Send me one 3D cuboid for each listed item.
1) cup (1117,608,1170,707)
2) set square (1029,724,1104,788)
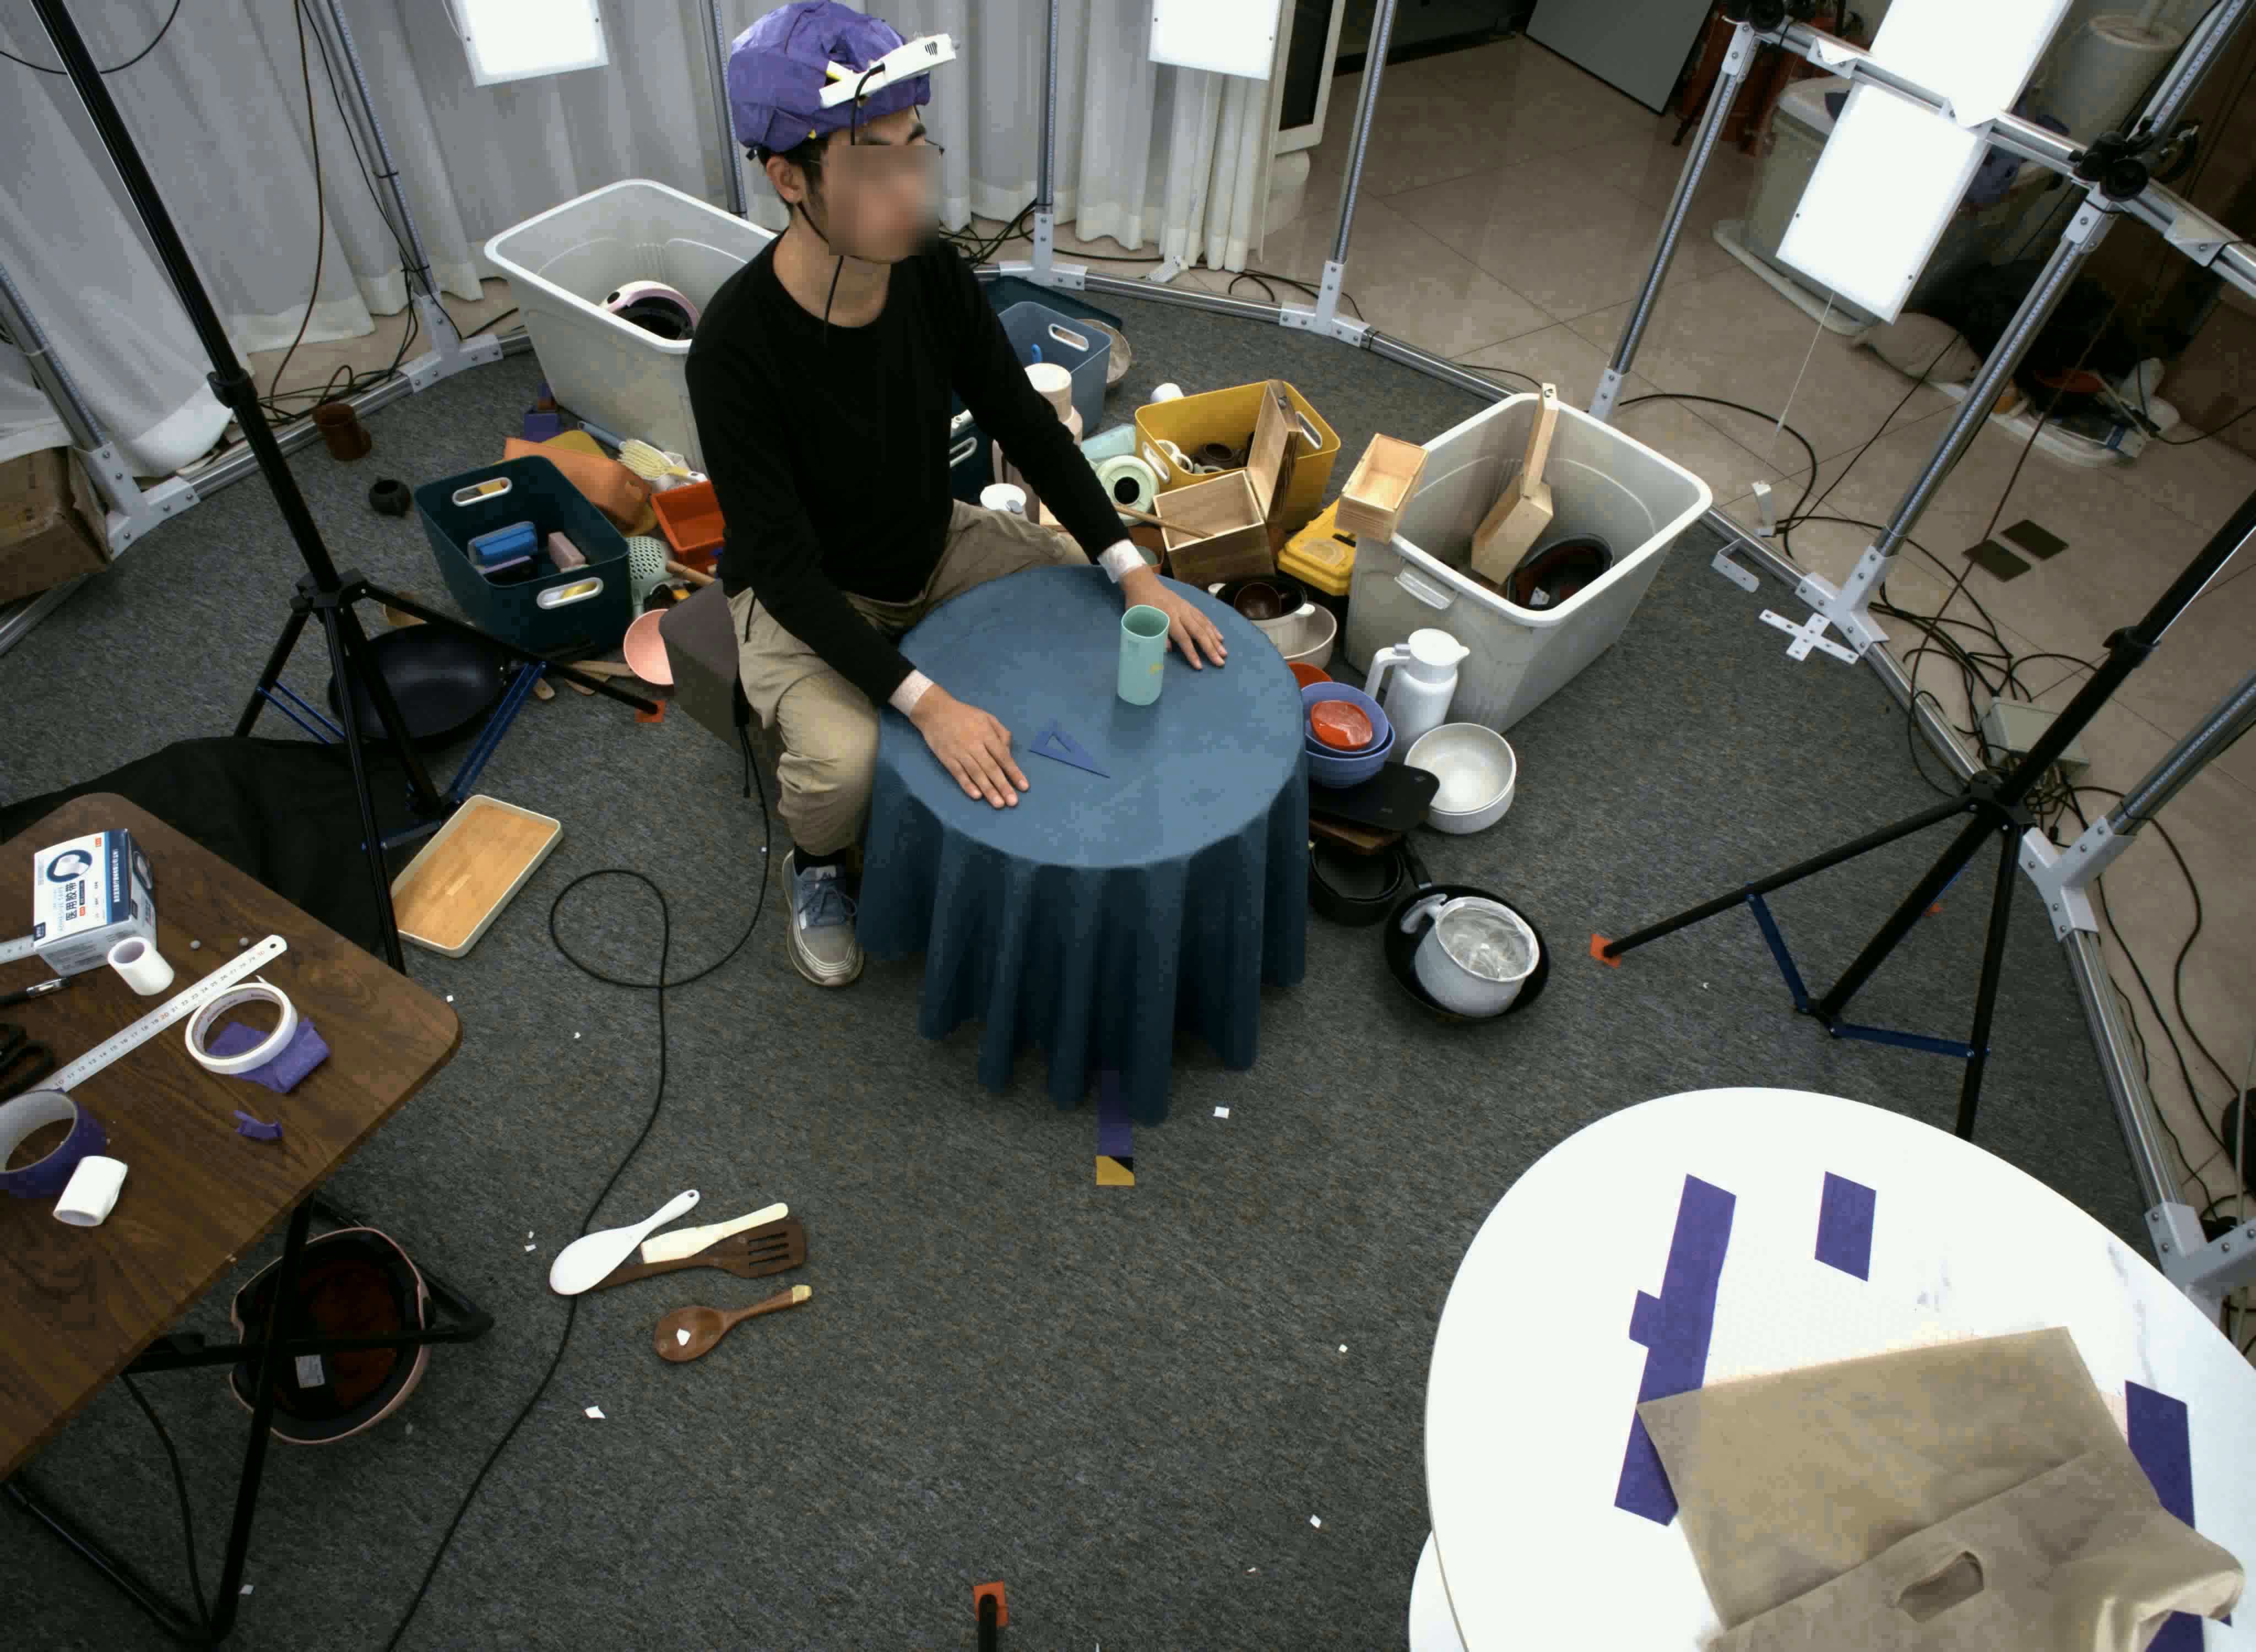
[{"bbox_3d":[0.019,-0.236,1.796,0.066,0.129,0.068,2,50,-3],"label":"cup"},{"bbox_3d":[-0.089,-0.089,1.738,0.061,0.006,0.134,-24,55,-24],"label":"set square"}]
